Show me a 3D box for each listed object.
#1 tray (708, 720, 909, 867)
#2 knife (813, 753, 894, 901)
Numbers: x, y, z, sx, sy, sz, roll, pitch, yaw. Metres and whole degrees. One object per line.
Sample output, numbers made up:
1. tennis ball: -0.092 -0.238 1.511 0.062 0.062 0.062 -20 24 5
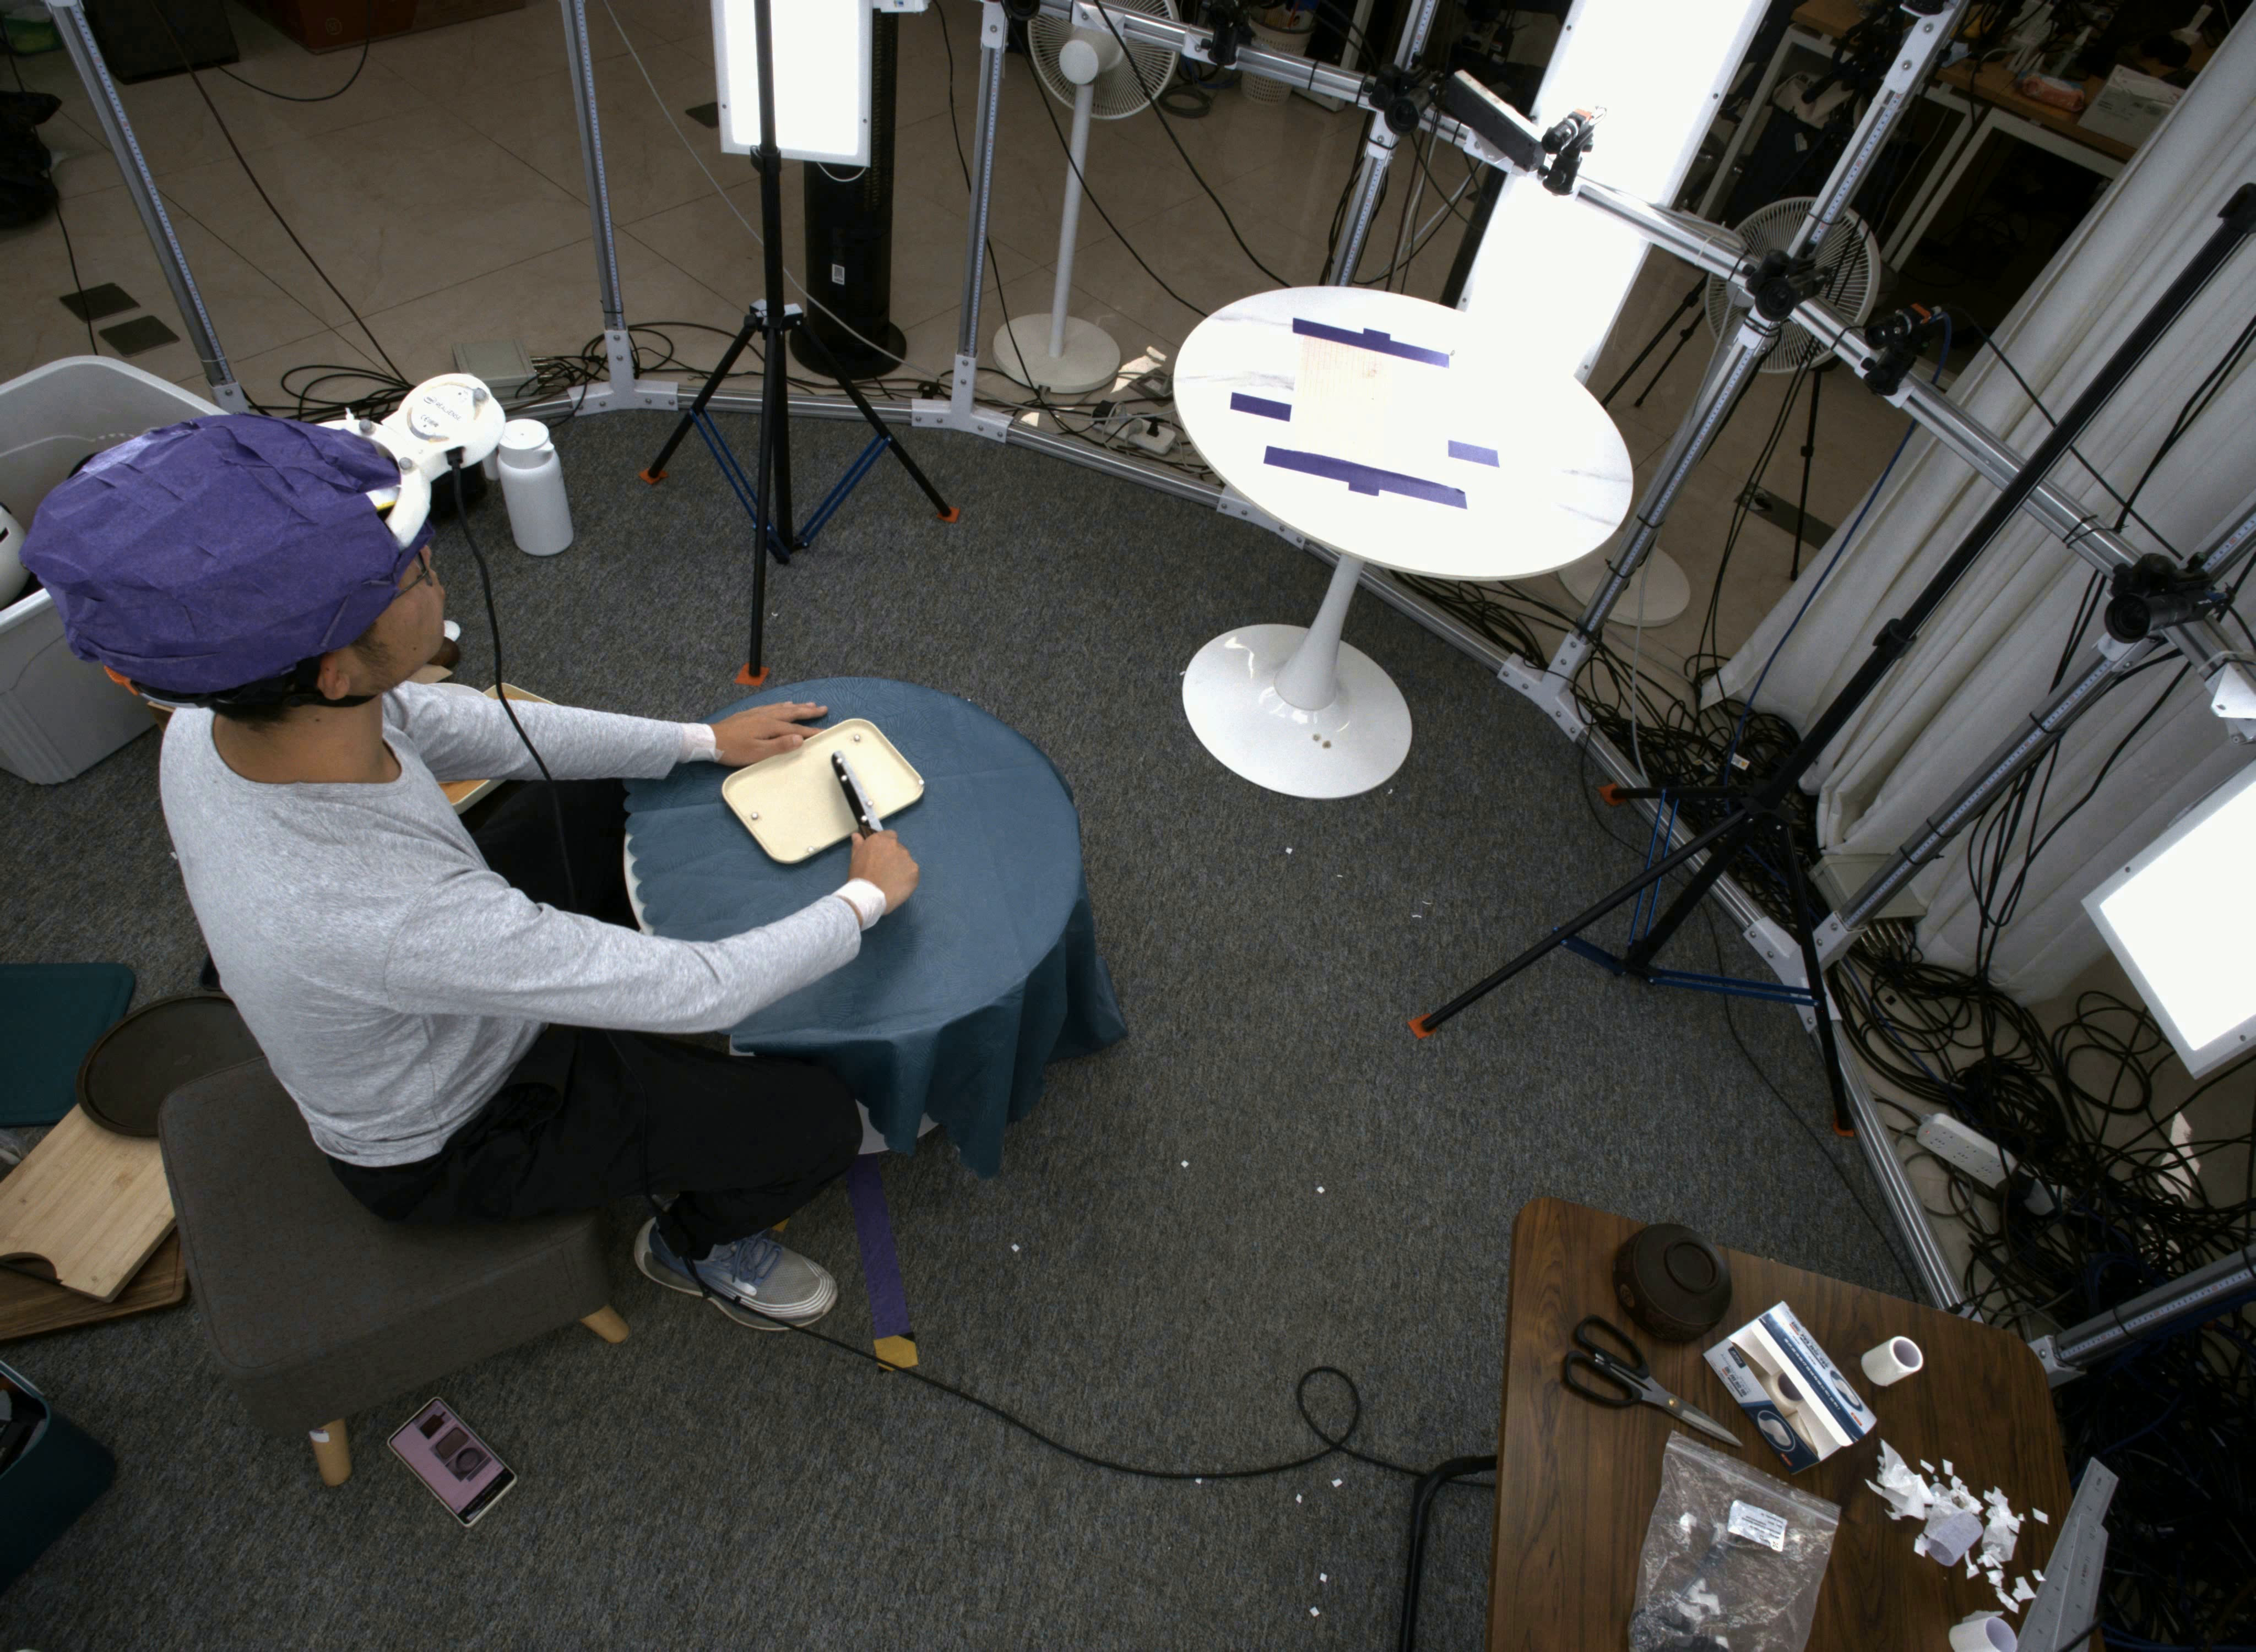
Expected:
1. tray: -0.431 -0.047 1.757 0.240 0.018 0.167 -31 66 -31
2. knife: -0.363 -0.006 1.701 0.052 0.020 0.280 25 26 -49
